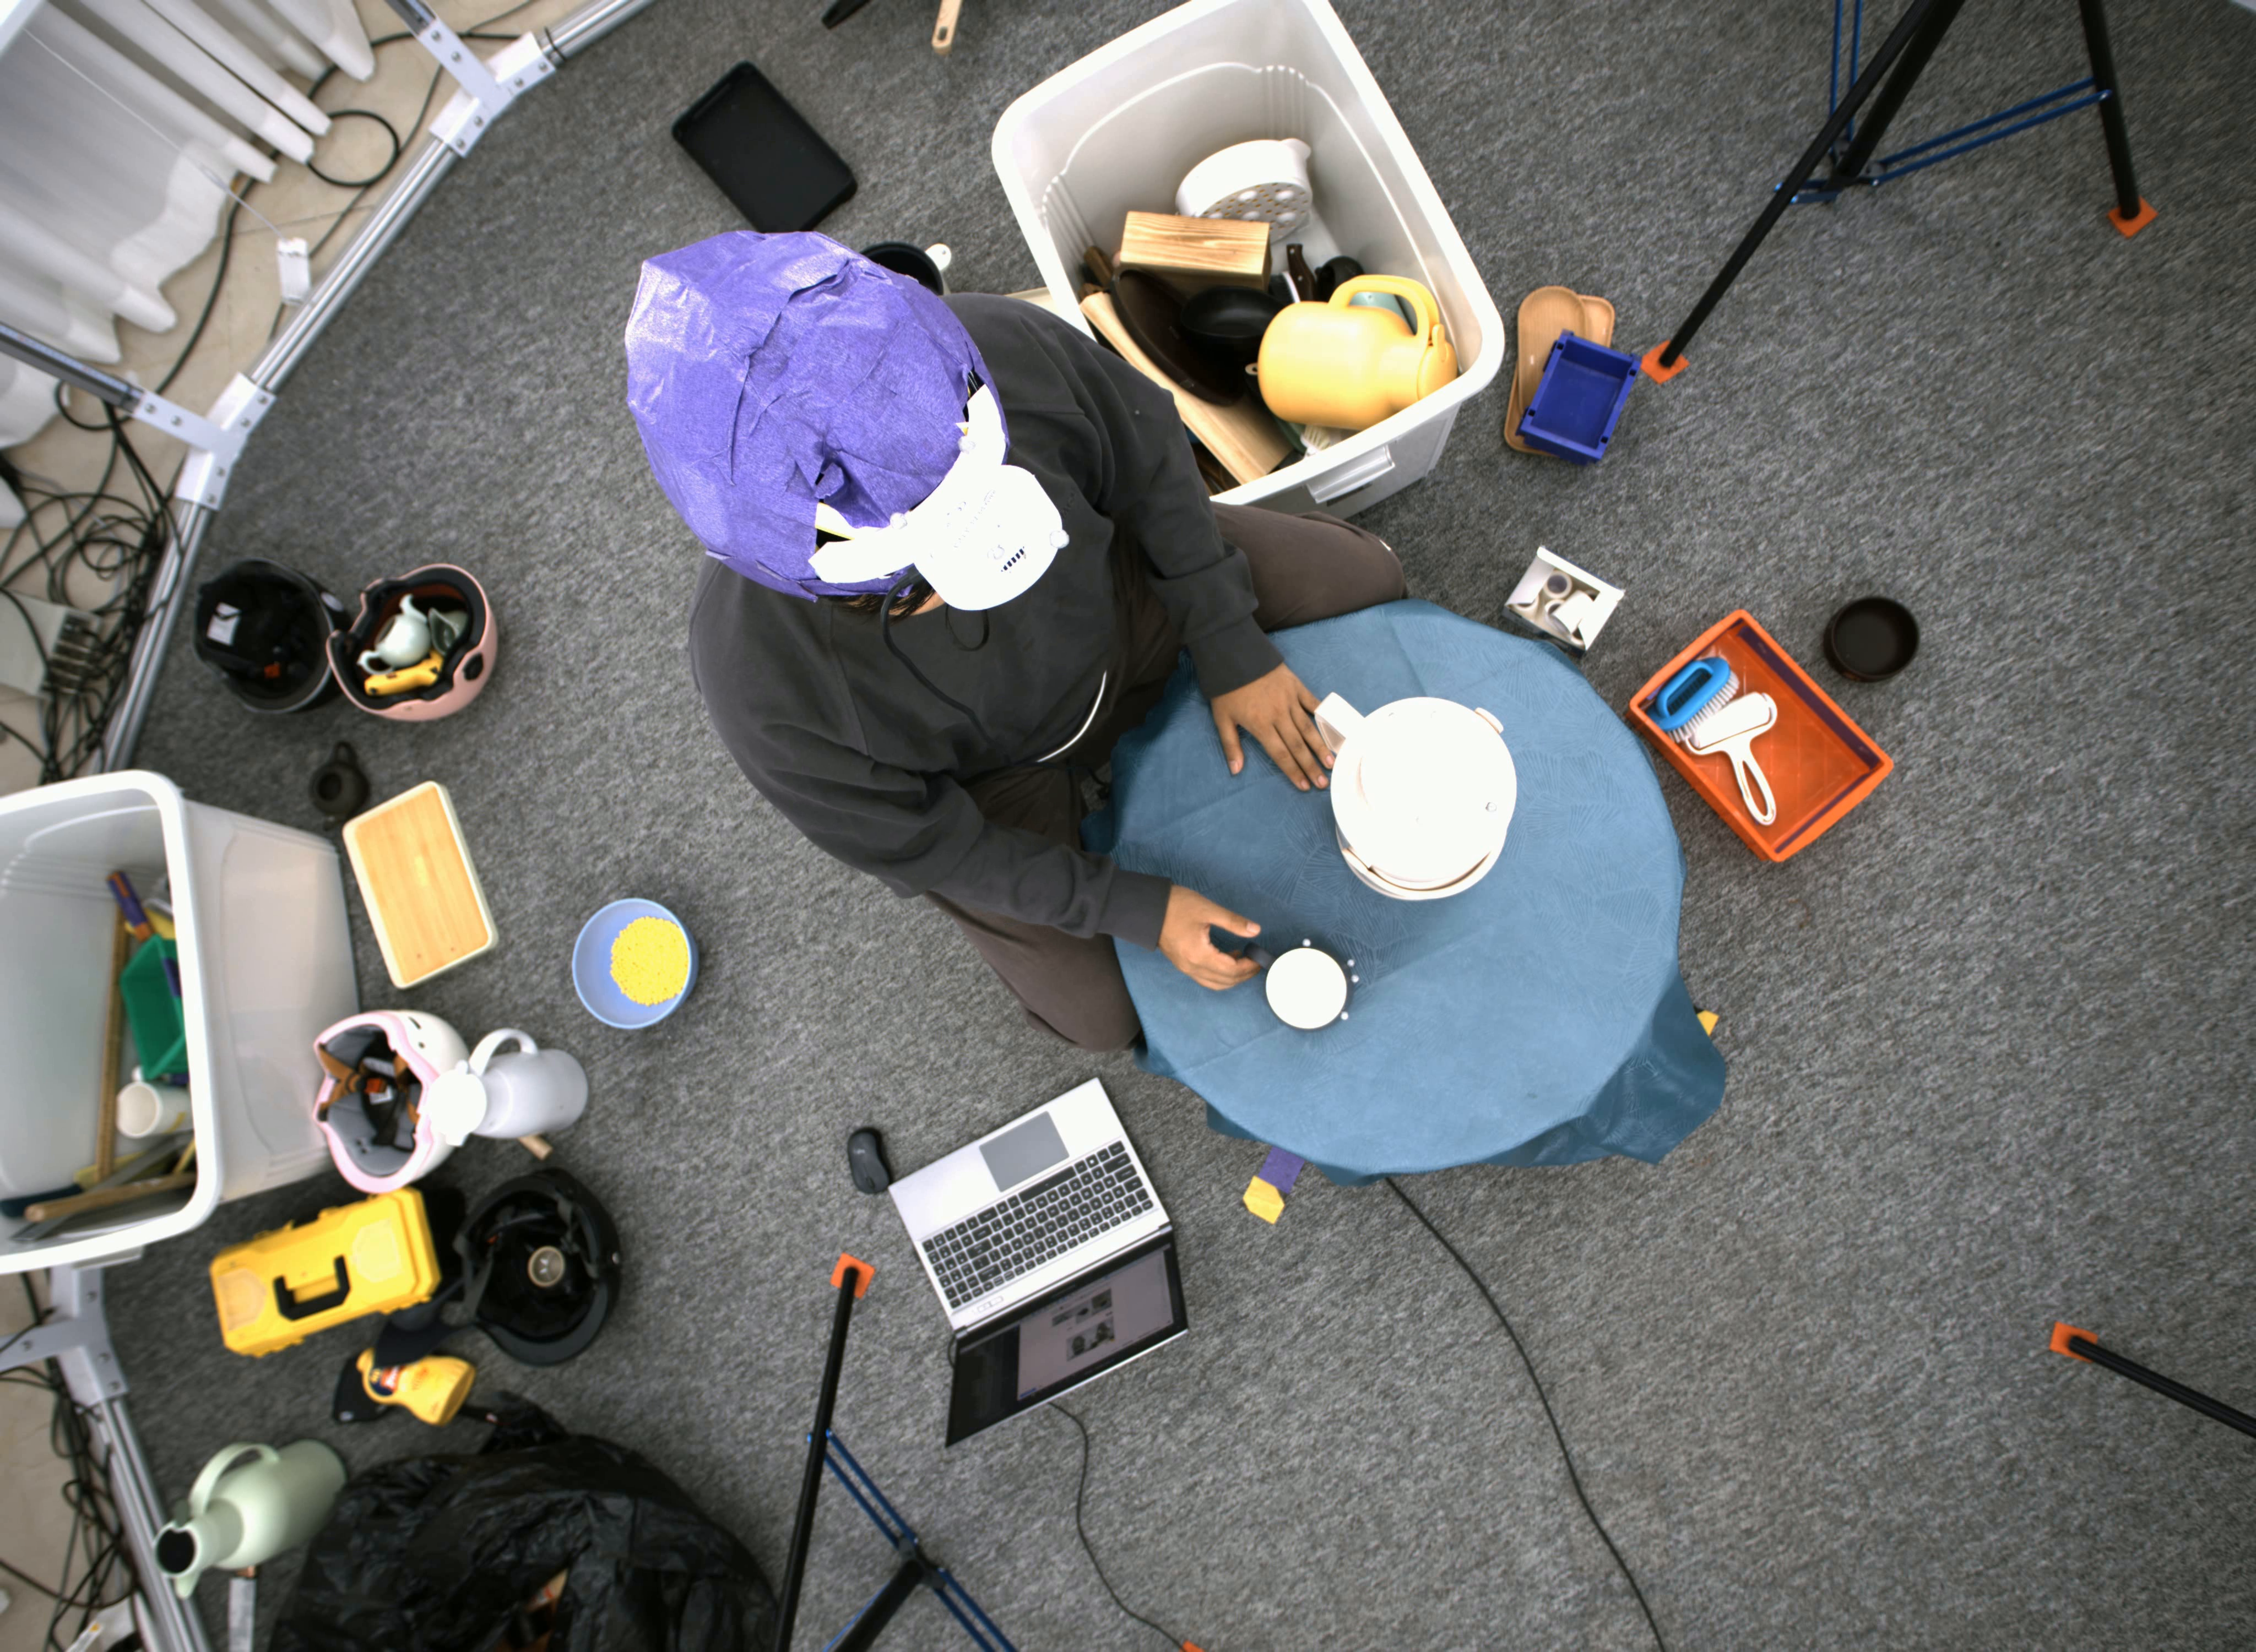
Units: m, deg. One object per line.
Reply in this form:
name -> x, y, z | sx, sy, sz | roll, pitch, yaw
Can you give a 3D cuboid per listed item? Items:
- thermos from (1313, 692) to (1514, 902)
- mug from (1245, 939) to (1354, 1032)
thermos -> 0.256, -0.033, 1.268 | 0.206, 0.407, 0.176 | 43, 93, 11
mug -> 0.173, 0.156, 1.428 | 0.123, 0.090, 0.094 | 36, 92, 11
